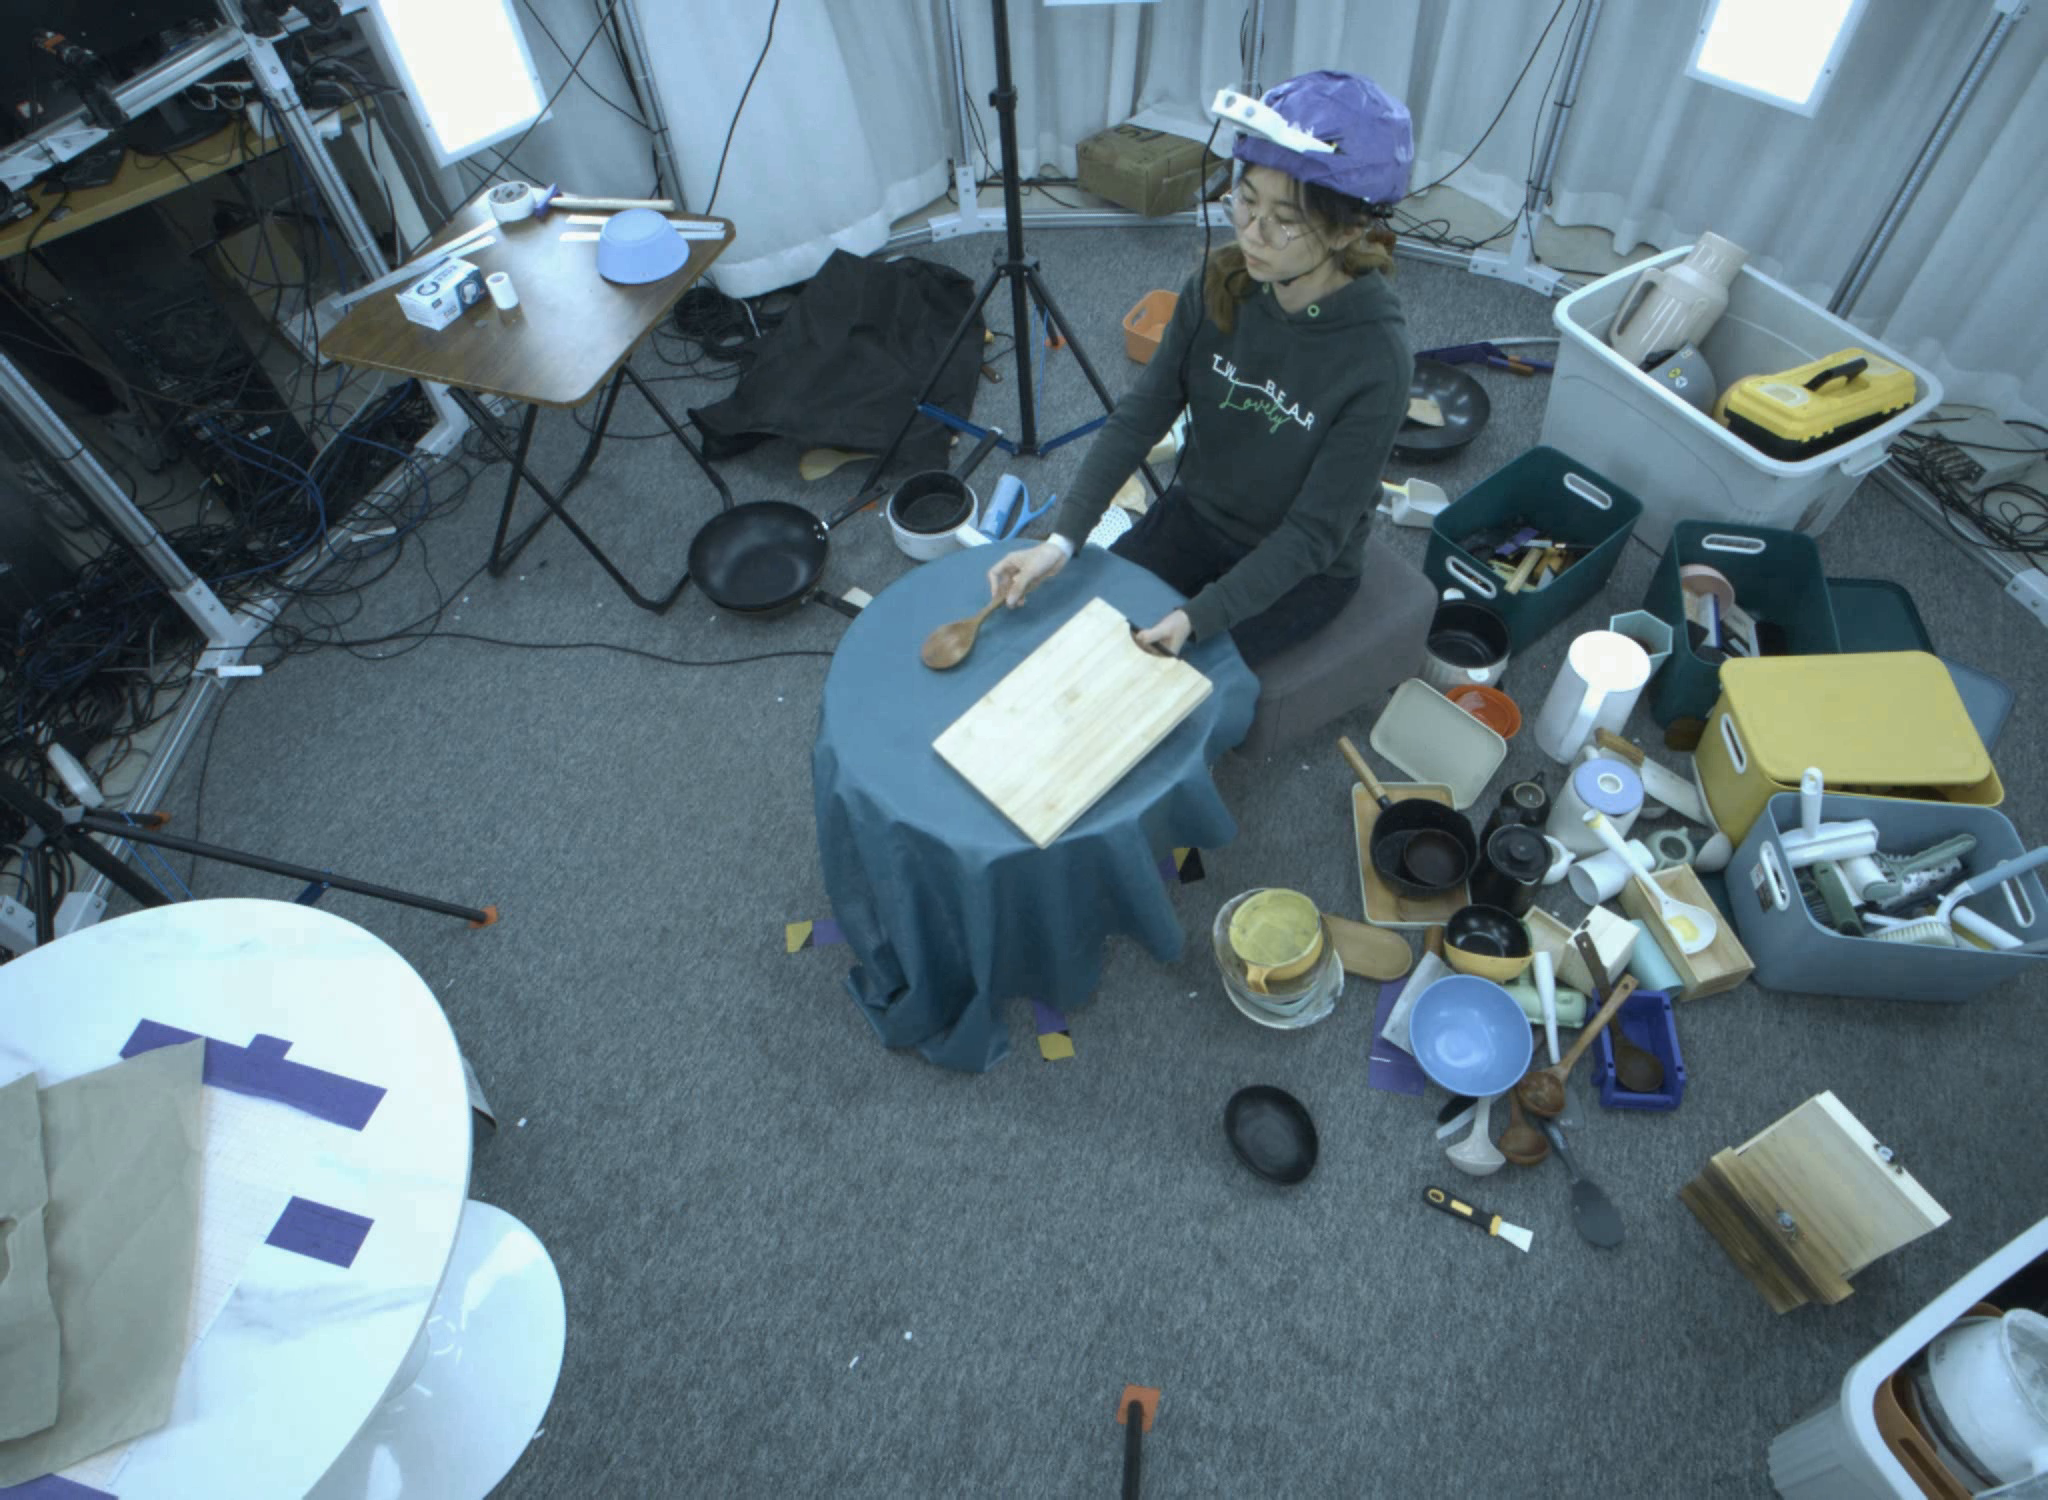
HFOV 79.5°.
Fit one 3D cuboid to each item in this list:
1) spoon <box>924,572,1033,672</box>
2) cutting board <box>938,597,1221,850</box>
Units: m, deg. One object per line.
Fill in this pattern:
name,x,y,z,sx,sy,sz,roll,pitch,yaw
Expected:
spoon,-0.068,-0.199,1.905,0.216,0.017,0.074,-44,60,-9
cutting board,0.076,-0.047,1.779,0.350,0.024,0.246,-43,64,-13
